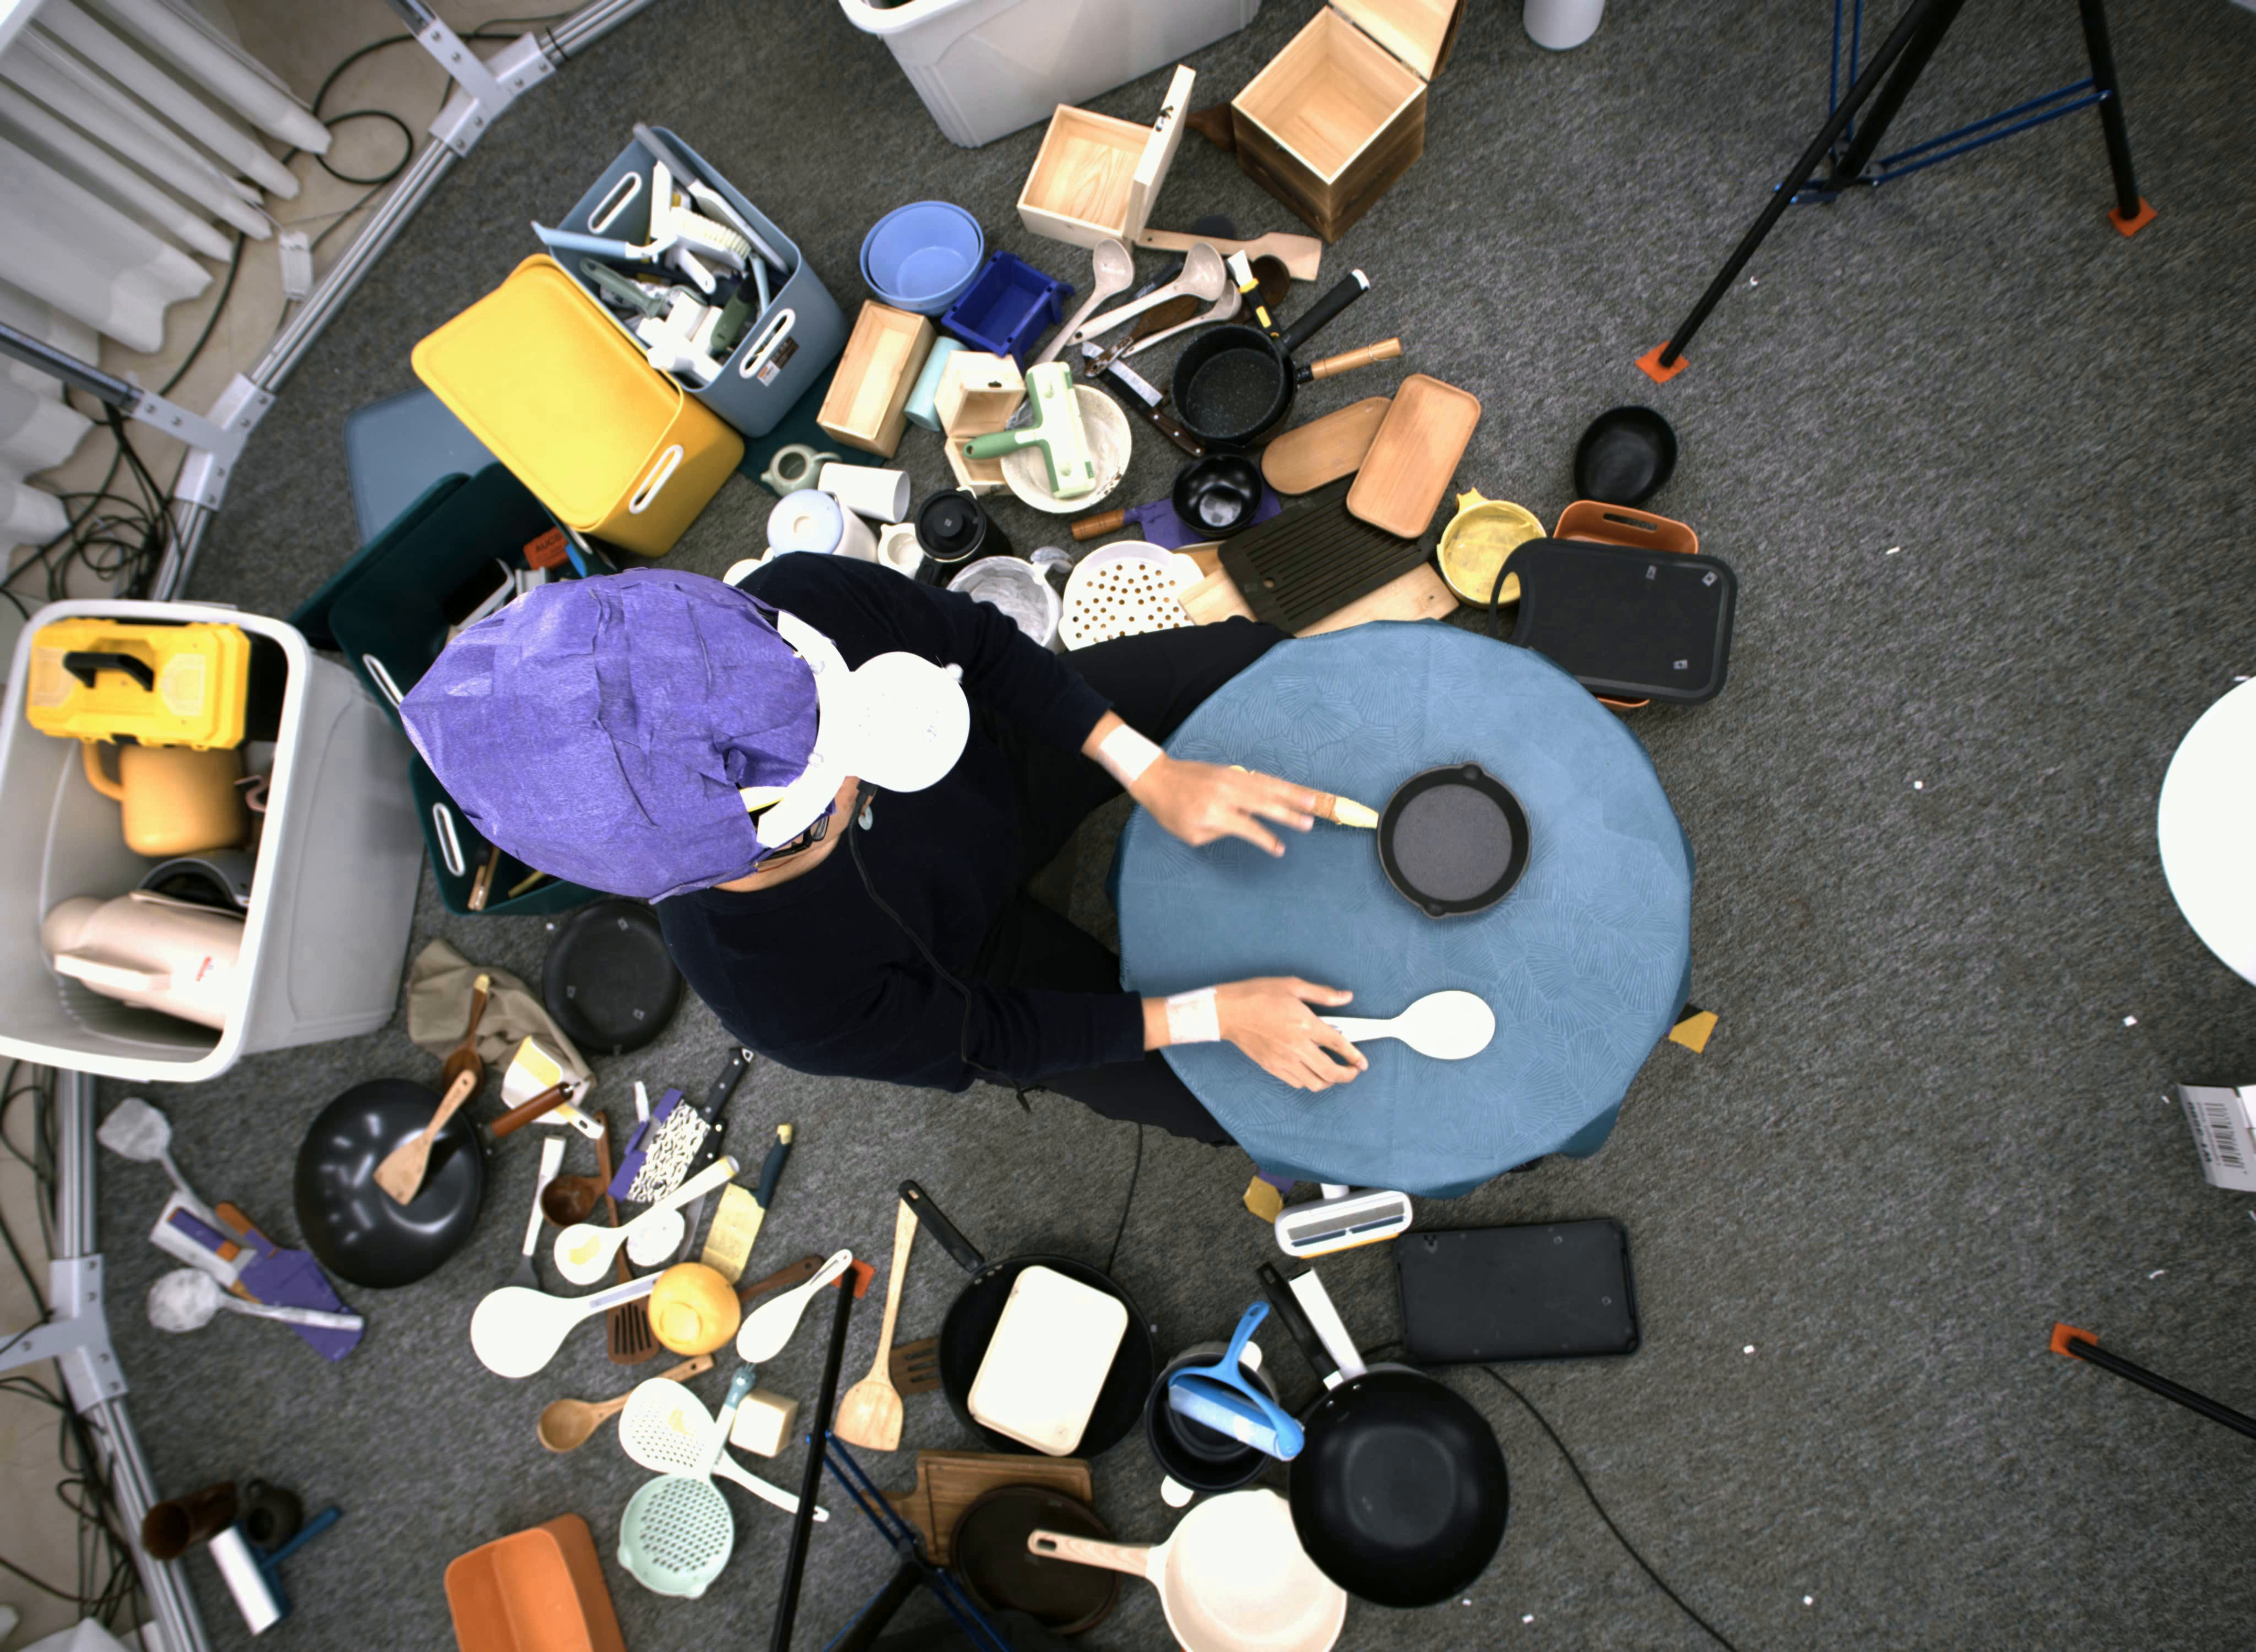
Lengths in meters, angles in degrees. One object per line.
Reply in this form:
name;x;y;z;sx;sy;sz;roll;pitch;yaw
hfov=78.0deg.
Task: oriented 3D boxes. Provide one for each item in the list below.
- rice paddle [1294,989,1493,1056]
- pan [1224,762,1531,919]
rice paddle;0.275;0.206;1.437;0.206;0.029;0.068;-5;87;11
pan;0.258;-0.011;1.441;0.324;0.049;0.169;17;90;9
